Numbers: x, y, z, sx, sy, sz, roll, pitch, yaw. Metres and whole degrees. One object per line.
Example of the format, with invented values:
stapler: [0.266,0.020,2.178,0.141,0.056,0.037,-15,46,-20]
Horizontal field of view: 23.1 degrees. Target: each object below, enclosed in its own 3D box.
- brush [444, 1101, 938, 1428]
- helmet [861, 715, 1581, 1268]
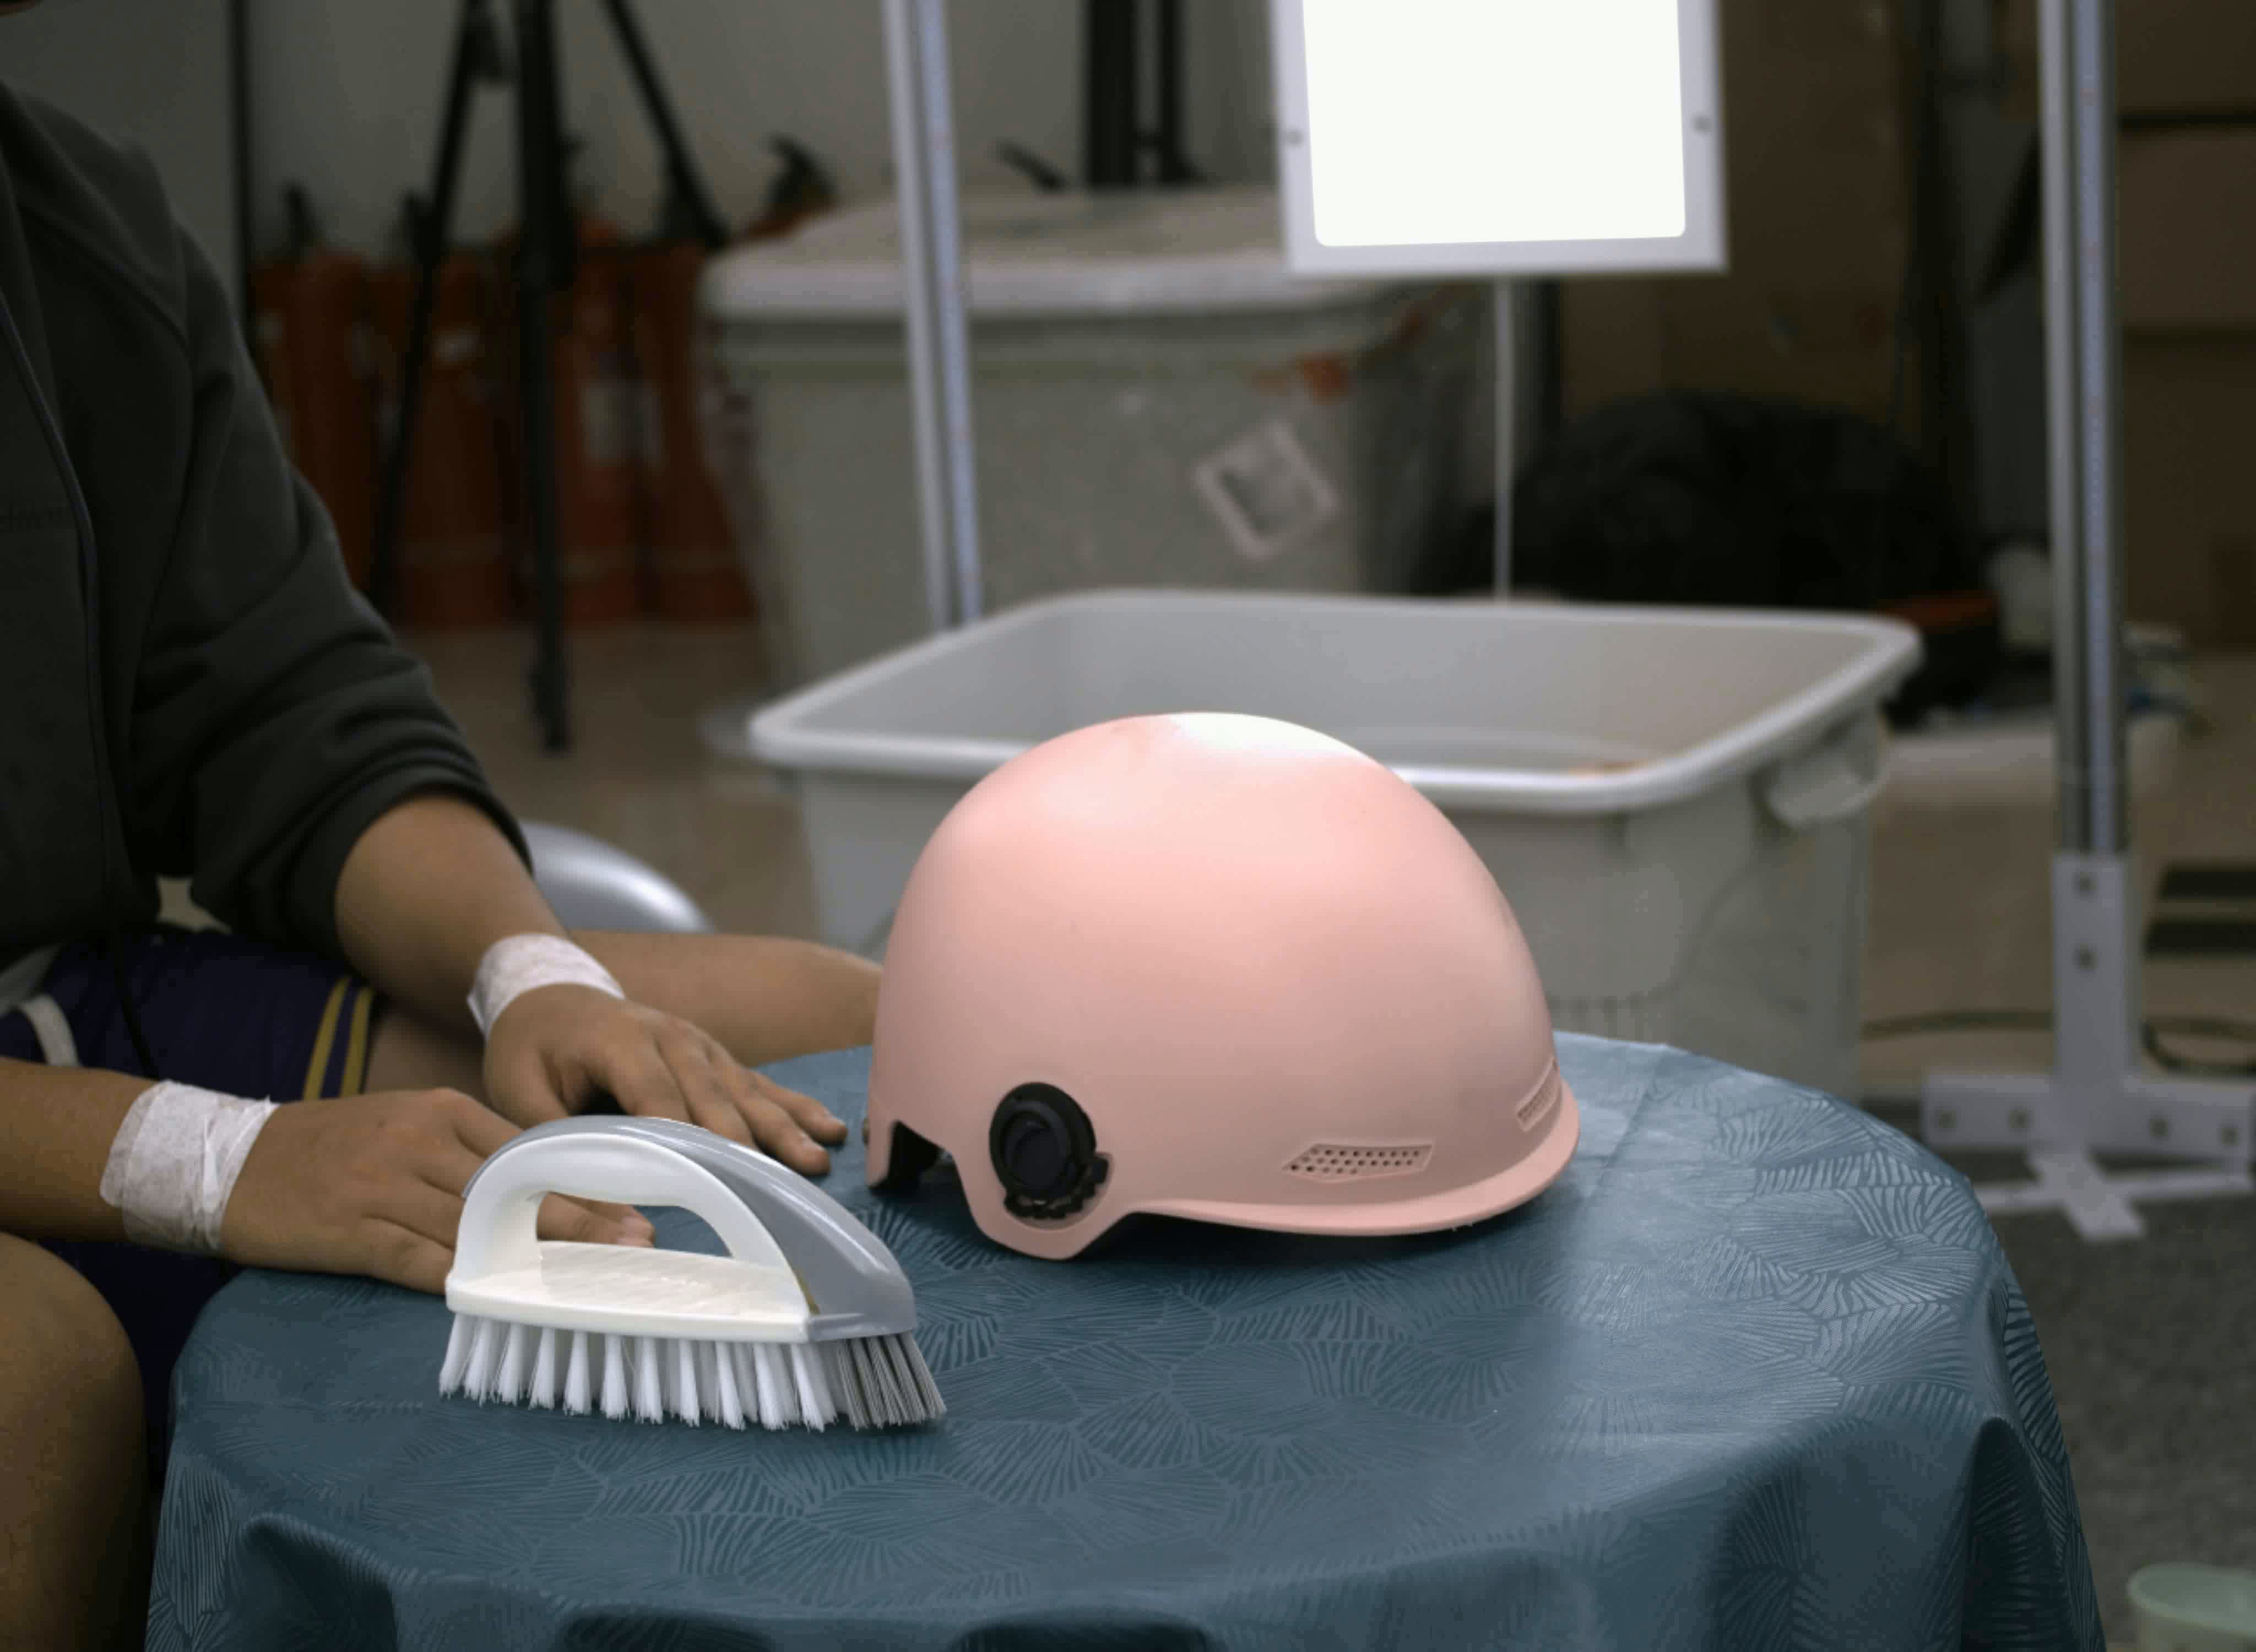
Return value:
brush: [-0.136,0.135,1.721,0.179,0.094,0.060,6,18,32]
helmet: [0.031,0.046,1.896,0.228,0.159,0.271,-16,21,-40]
